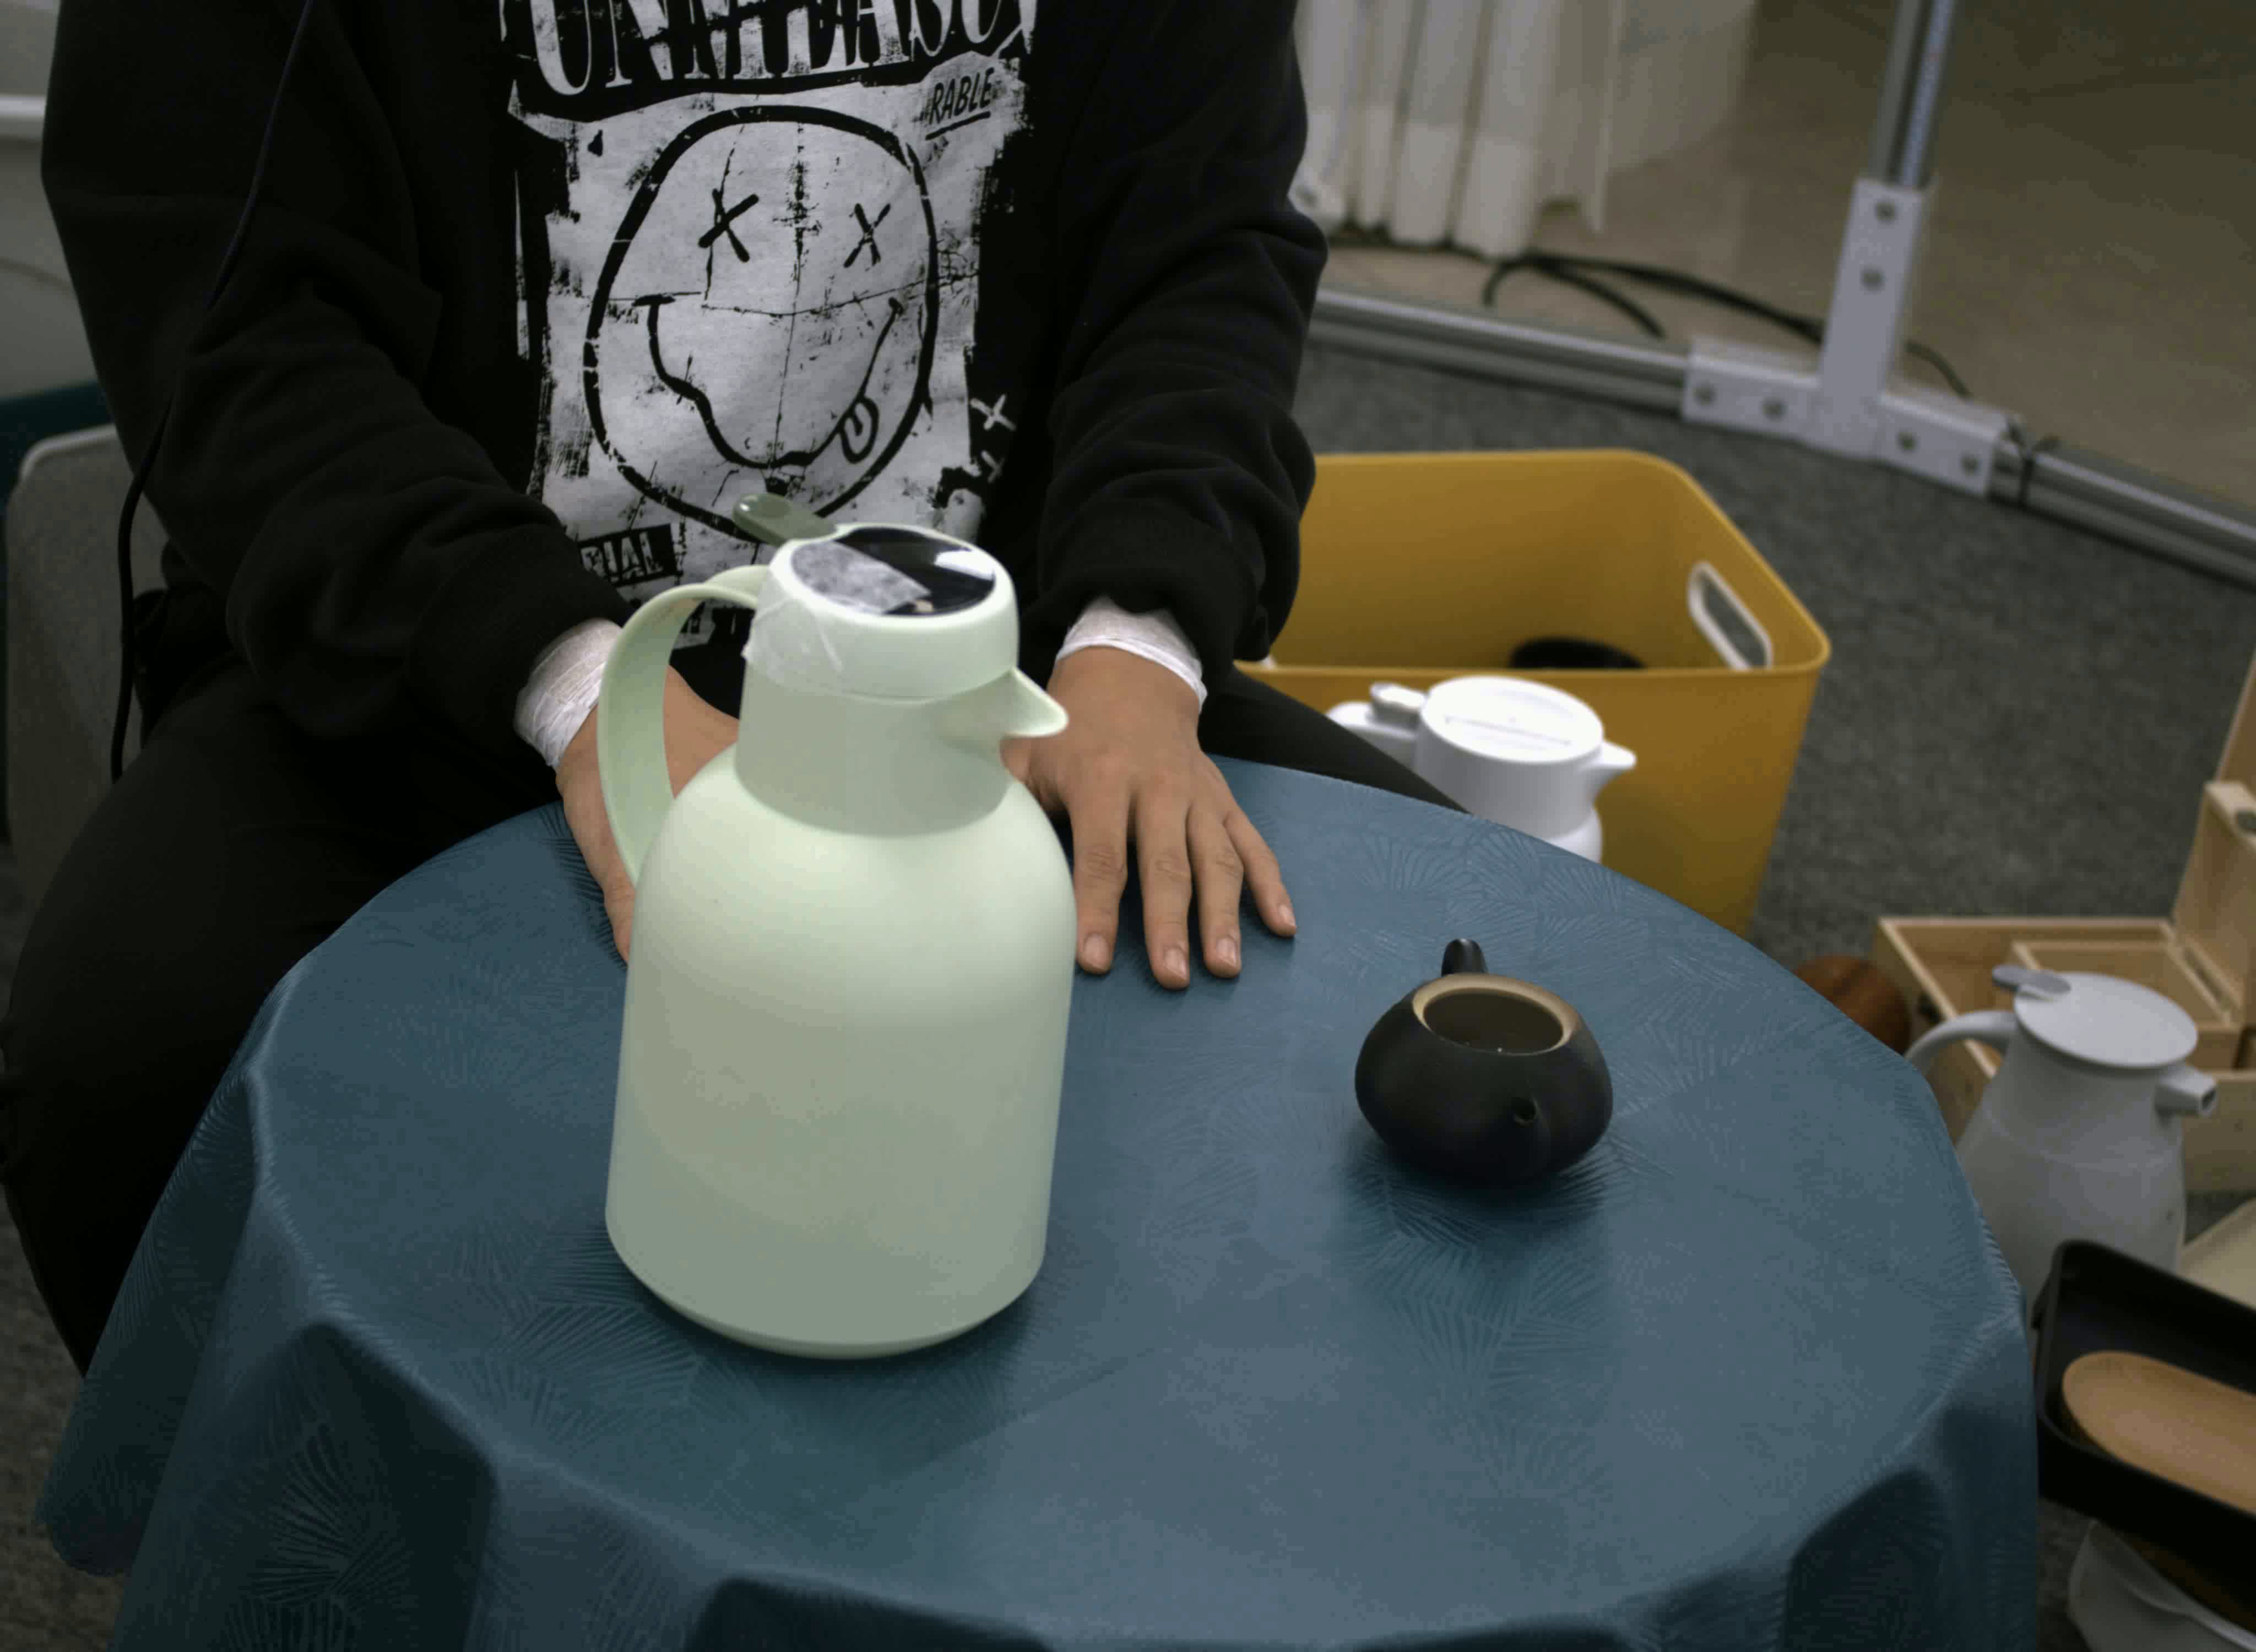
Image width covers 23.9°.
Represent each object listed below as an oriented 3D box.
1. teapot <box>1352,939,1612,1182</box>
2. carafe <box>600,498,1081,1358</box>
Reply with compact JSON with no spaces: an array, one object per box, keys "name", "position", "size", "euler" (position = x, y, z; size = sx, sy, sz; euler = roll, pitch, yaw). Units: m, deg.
[{"name":"teapot","position":[0.123,0.087,1.845],"size":[0.090,0.053,0.134],"euler":[4,27,-9]},{"name":"carafe","position":[-0.096,0.026,1.700],"size":[0.188,0.256,0.143],"euler":[23,32,37]}]
